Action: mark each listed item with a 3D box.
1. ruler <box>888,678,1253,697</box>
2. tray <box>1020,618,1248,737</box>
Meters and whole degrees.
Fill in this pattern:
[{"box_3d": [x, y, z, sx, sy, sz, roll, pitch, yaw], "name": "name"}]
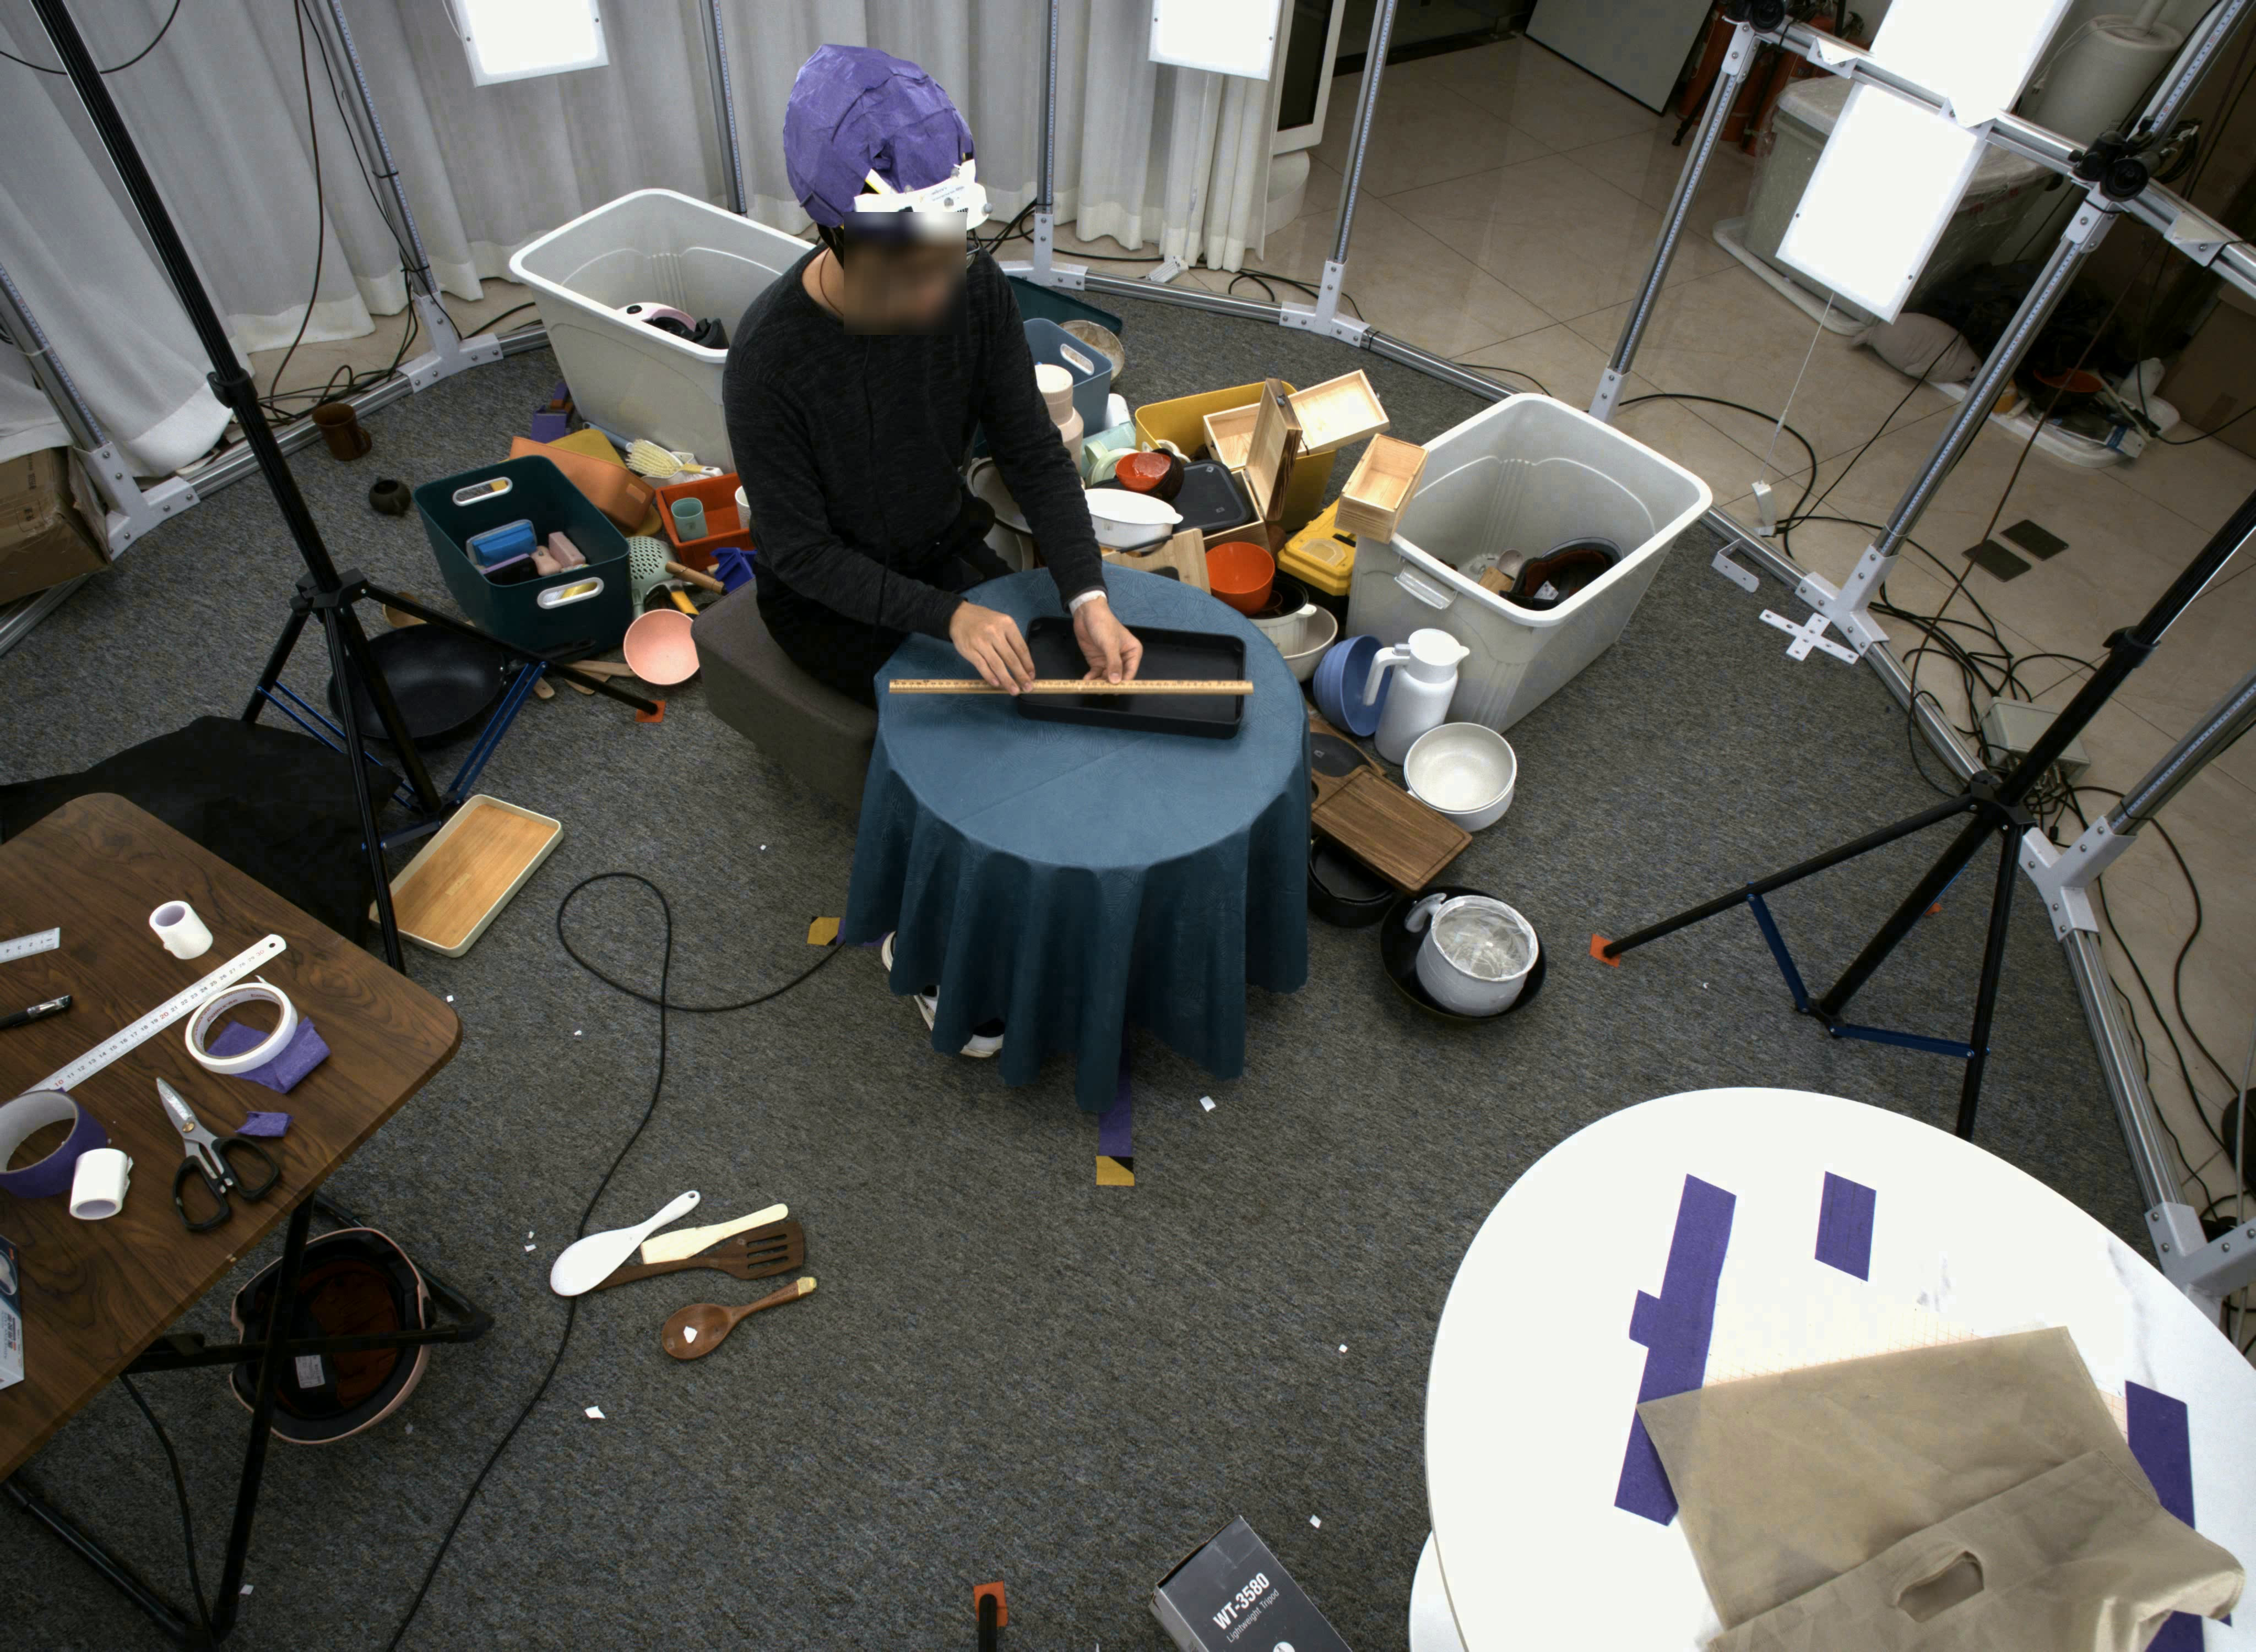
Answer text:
[{"box_3d": [-0.077, -0.191, 1.772, 0.500, 0.006, 0.027, 1, 43, -3], "name": "ruler"}, {"box_3d": [0.012, -0.213, 1.833, 0.318, 0.036, 0.189, 5, 49, 1], "name": "tray"}]
